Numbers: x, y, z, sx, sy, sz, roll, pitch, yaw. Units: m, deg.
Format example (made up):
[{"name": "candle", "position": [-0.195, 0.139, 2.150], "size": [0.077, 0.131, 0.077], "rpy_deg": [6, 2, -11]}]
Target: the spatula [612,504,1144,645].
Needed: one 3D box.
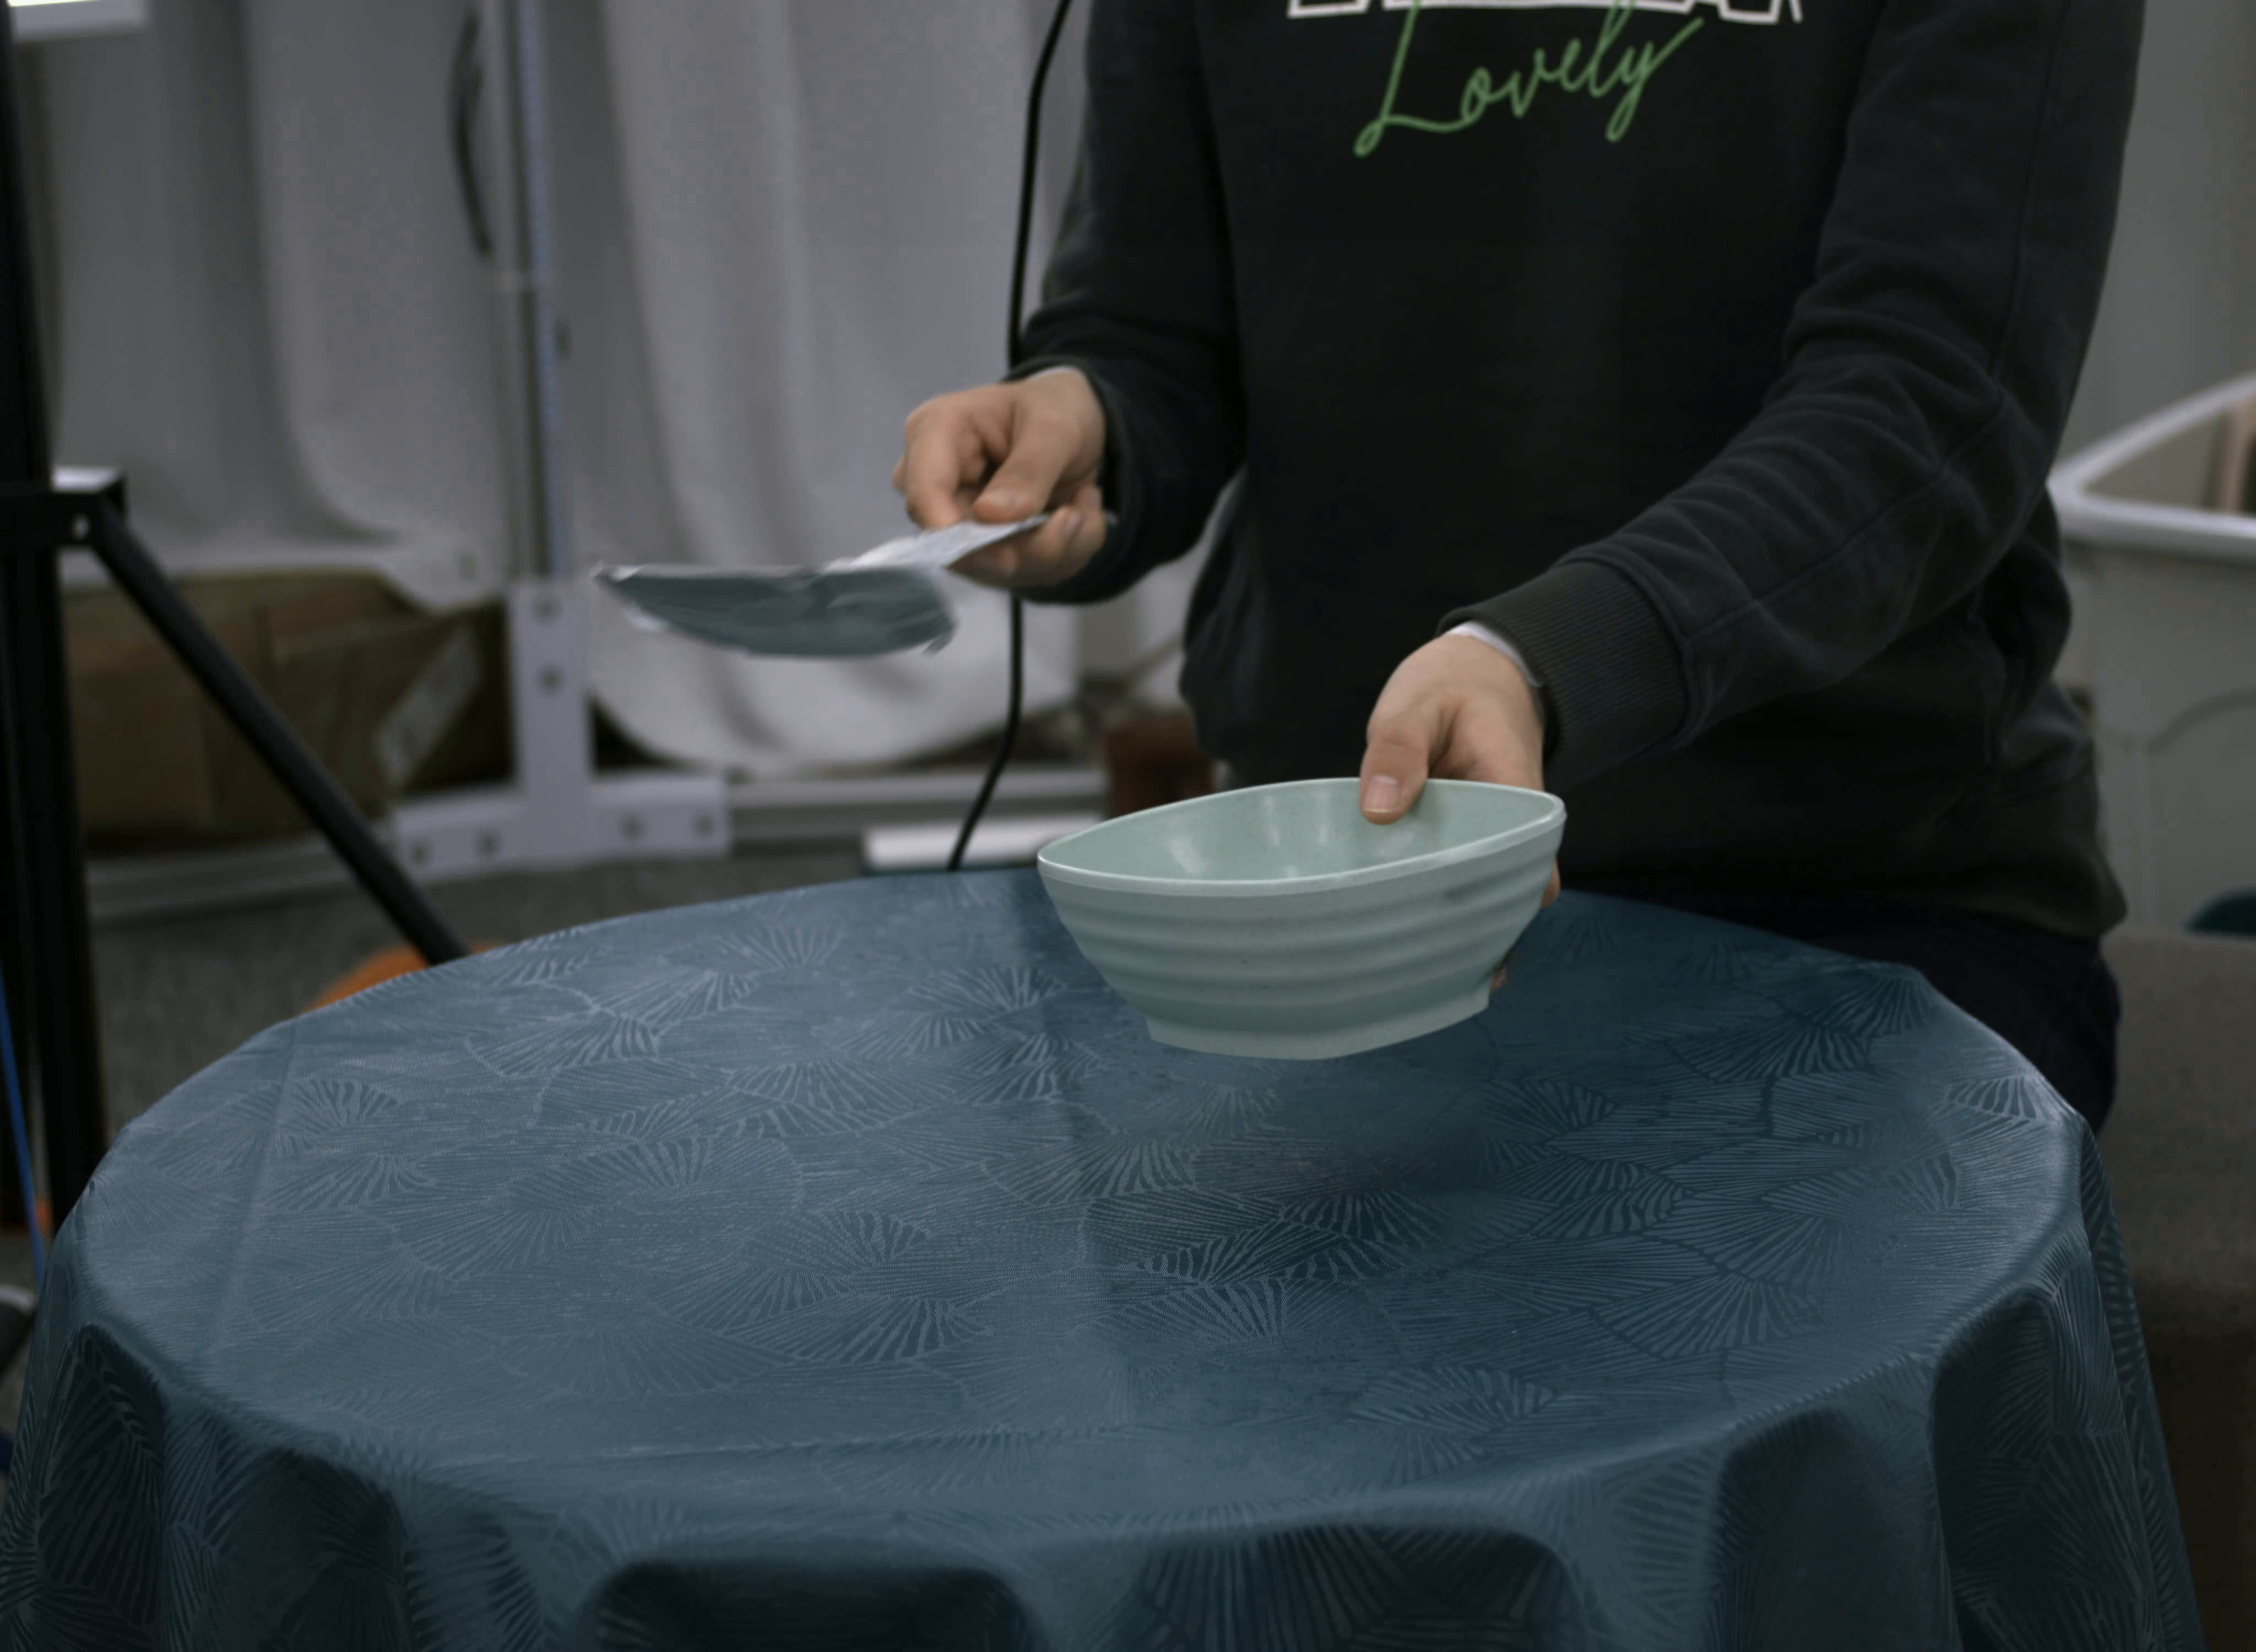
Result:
[{"name": "spatula", "position": [-0.055, -0.090, 1.652], "size": [0.099, 0.045, 0.361], "rpy_deg": [-3, 10, 16]}]

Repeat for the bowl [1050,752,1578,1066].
[{"name": "bowl", "position": [0.056, 0.026, 1.512], "size": [0.151, 0.058, 0.152], "rpy_deg": [-8, 14, 0]}]
